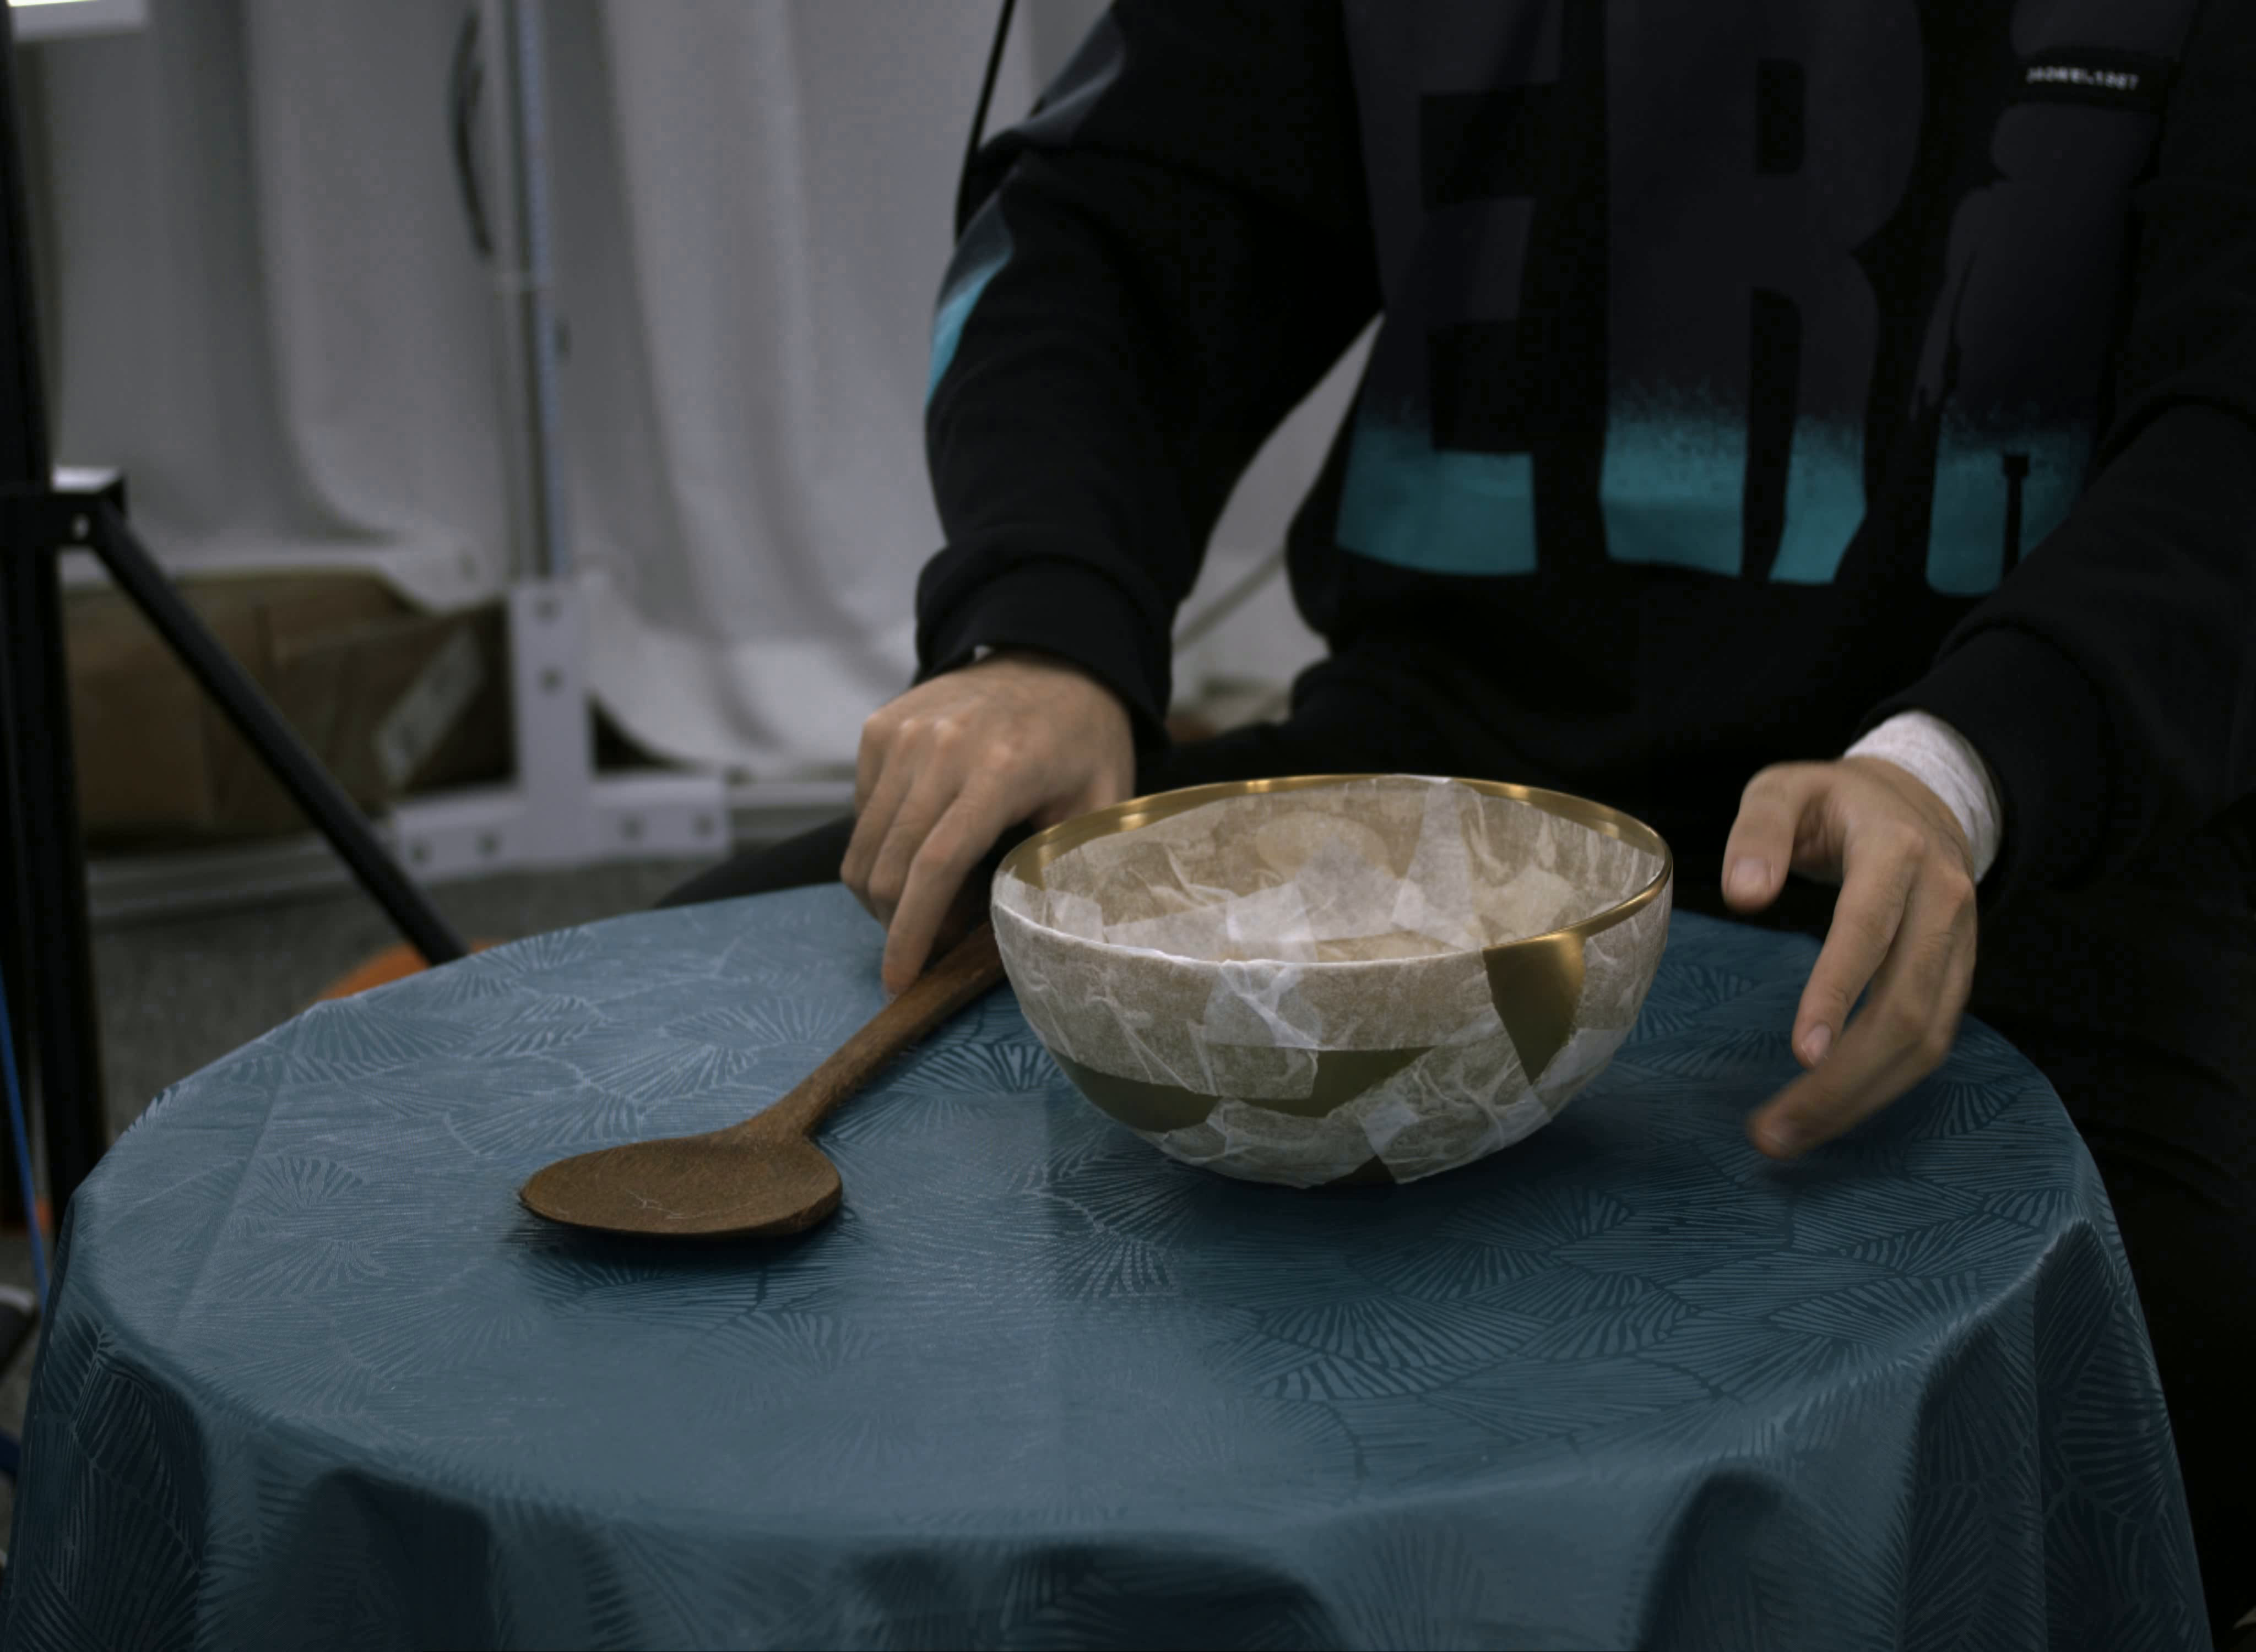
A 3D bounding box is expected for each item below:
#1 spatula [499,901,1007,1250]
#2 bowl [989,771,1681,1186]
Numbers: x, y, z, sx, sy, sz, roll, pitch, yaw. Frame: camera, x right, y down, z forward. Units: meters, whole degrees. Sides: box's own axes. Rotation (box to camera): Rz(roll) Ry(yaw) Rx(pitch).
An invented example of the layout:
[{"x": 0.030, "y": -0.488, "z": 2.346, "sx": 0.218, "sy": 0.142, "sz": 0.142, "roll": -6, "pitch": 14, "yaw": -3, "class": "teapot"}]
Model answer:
[{"x": -0.079, "y": 0.068, "z": 1.686, "sx": 0.097, "sy": 0.016, "sz": 0.381, "roll": 4, "pitch": 17, "yaw": 20, "class": "spatula"}, {"x": 0.065, "y": 0.052, "z": 1.571, "sx": 0.213, "sy": 0.094, "sz": 0.216, "roll": -4, "pitch": 14, "yaw": 0, "class": "bowl"}]
